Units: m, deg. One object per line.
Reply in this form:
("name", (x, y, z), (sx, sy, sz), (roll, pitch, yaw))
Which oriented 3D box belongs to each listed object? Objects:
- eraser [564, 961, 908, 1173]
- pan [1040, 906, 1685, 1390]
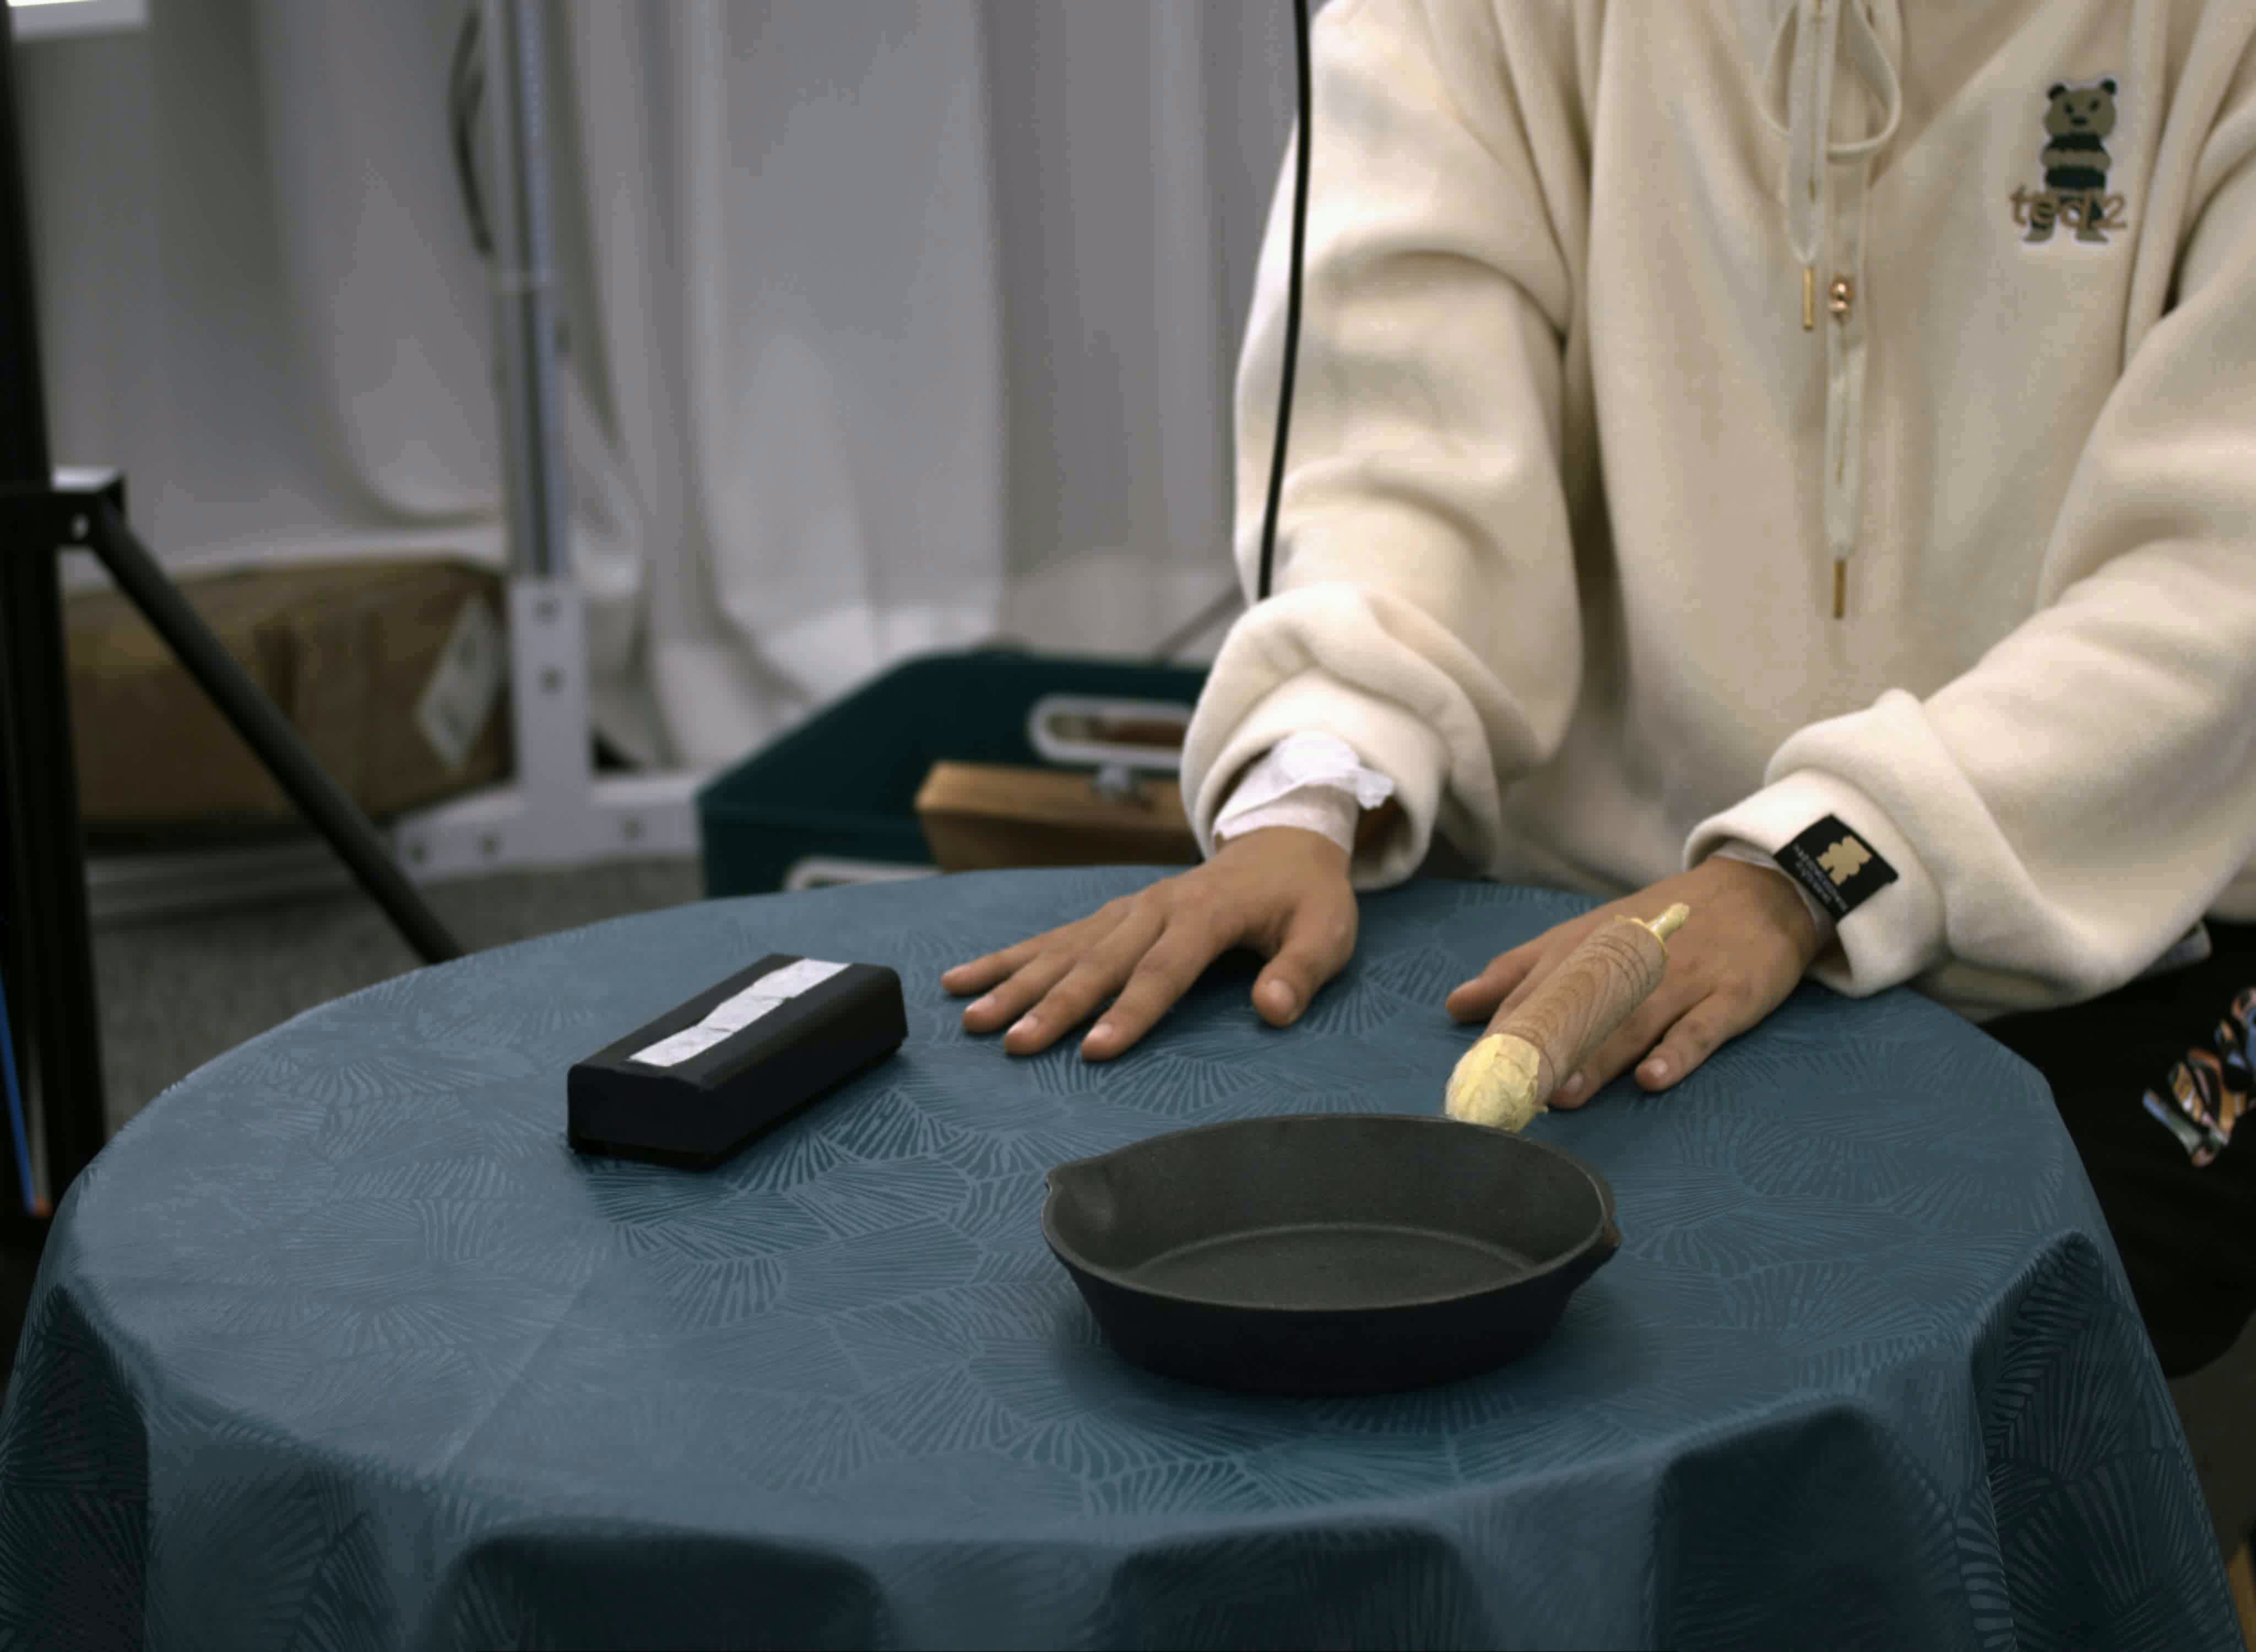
("eraser", (-0.120, 0.074, 1.650), (0.054, 0.030, 0.123), (6, 17, 27))
("pan", (0.095, 0.089, 1.516), (0.172, 0.049, 0.318), (5, 18, 29))
